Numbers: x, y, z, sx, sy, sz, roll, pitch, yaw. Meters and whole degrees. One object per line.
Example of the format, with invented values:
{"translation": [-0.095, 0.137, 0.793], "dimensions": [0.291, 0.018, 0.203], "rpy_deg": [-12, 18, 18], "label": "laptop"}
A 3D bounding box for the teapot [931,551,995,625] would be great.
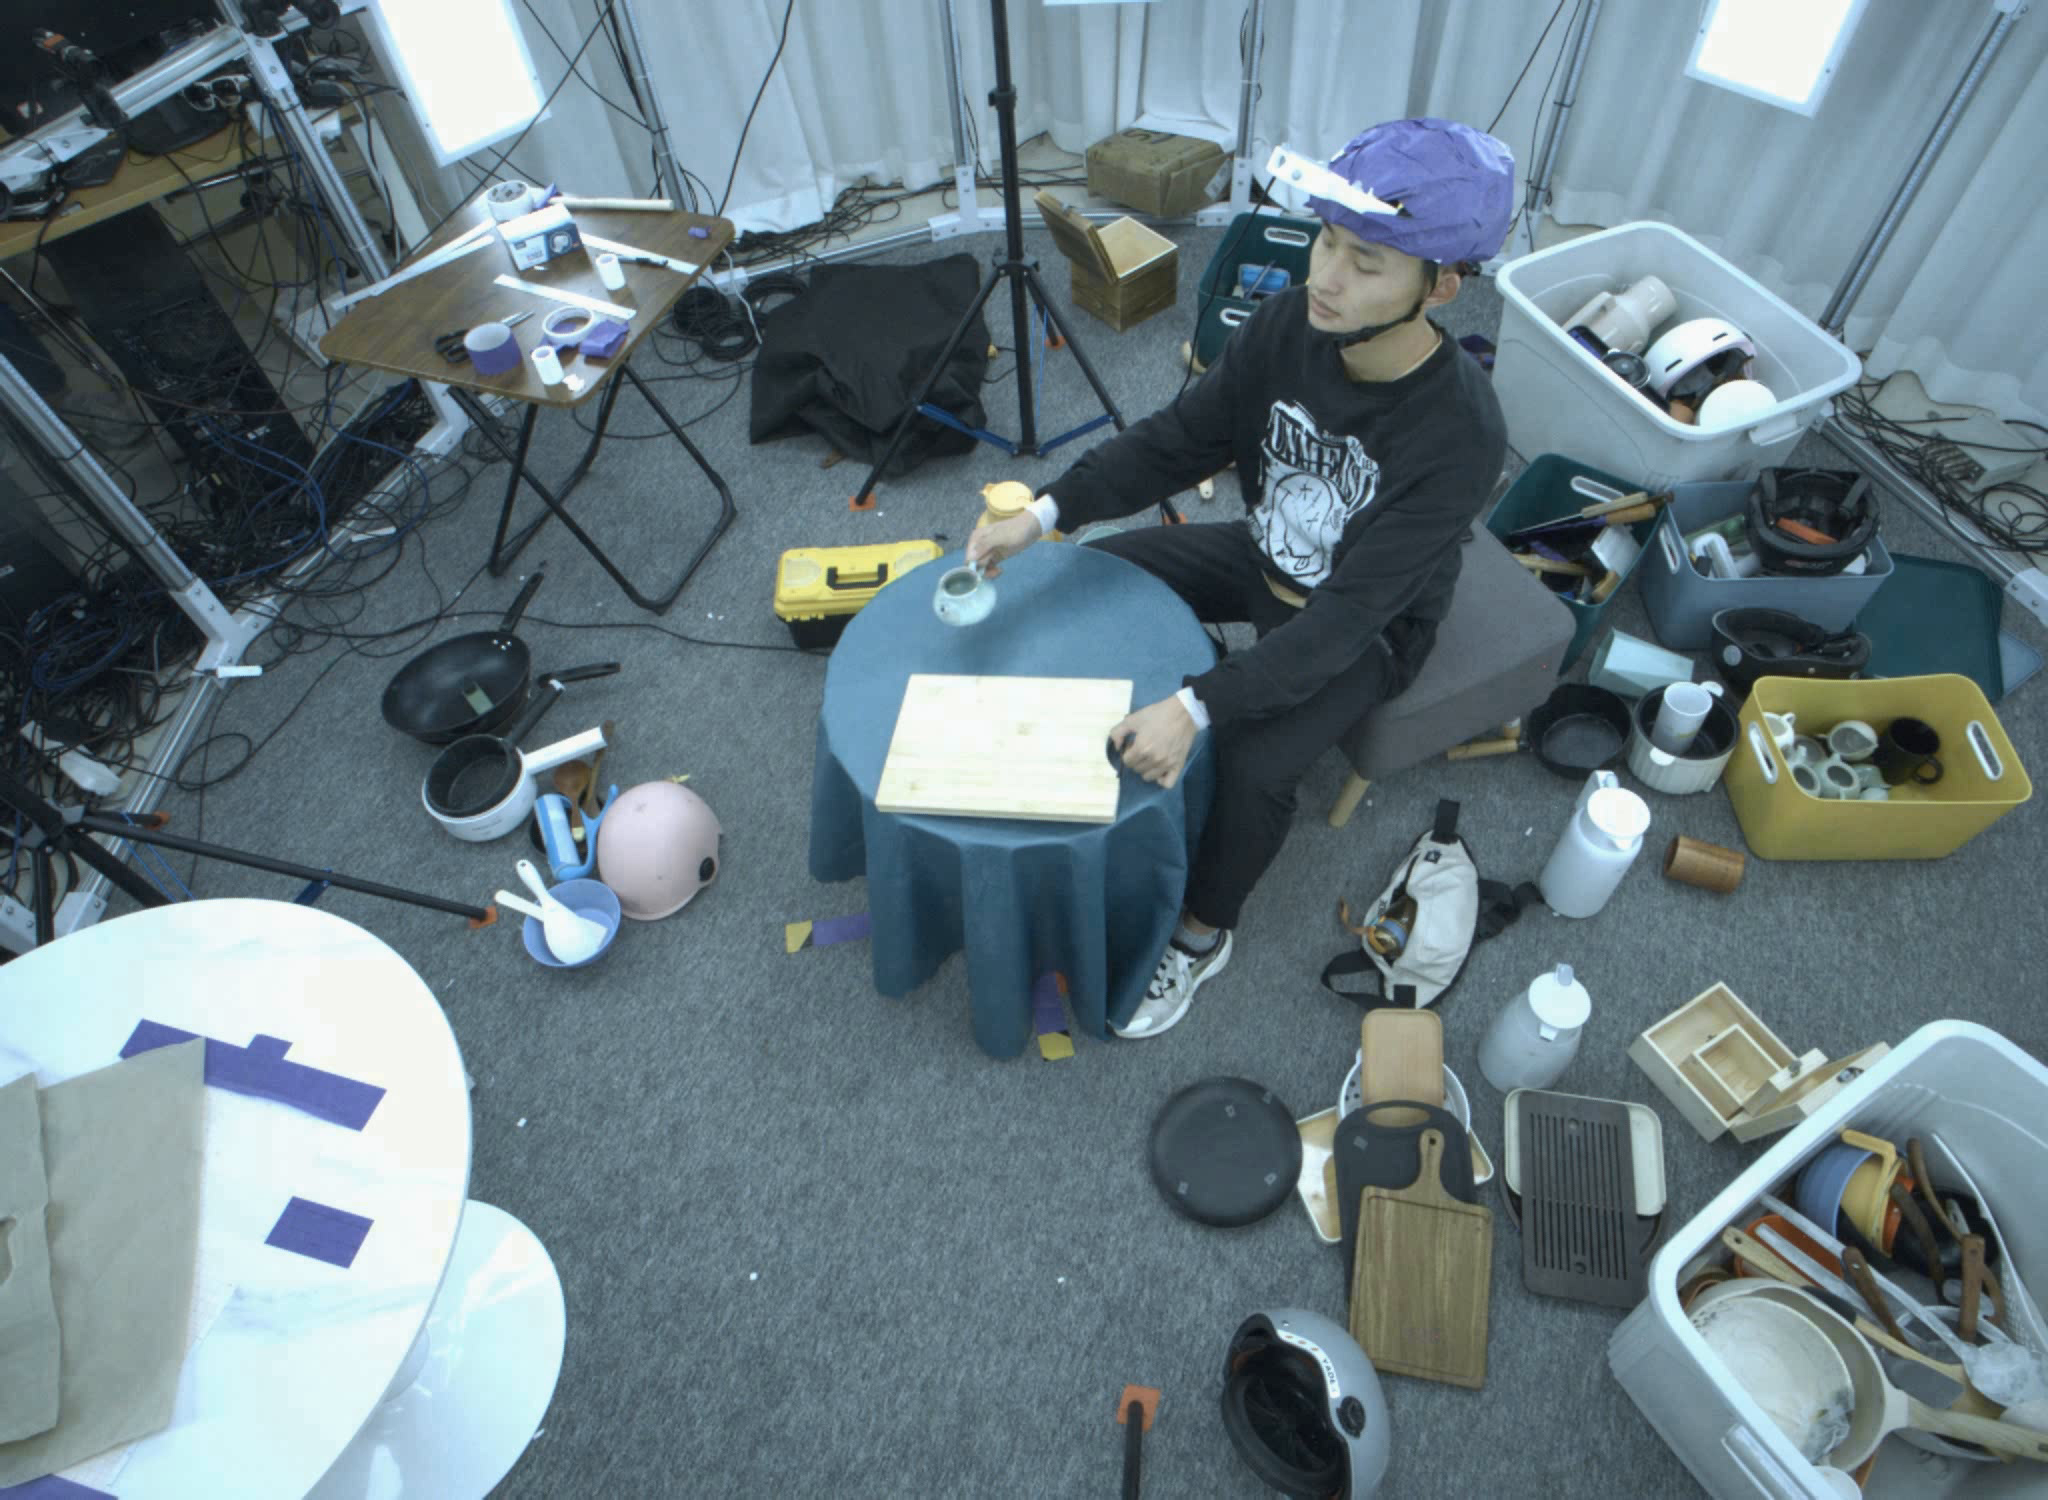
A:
{"translation": [-0.093, -0.236, 1.828], "dimensions": [0.095, 0.062, 0.137], "rpy_deg": [14, 58, 21], "label": "teapot"}

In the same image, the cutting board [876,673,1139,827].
{"translation": [-0.019, -0.006, 1.760], "dimensions": [0.346, 0.024, 0.249], "rpy_deg": [2, 54, 10], "label": "cutting board"}
